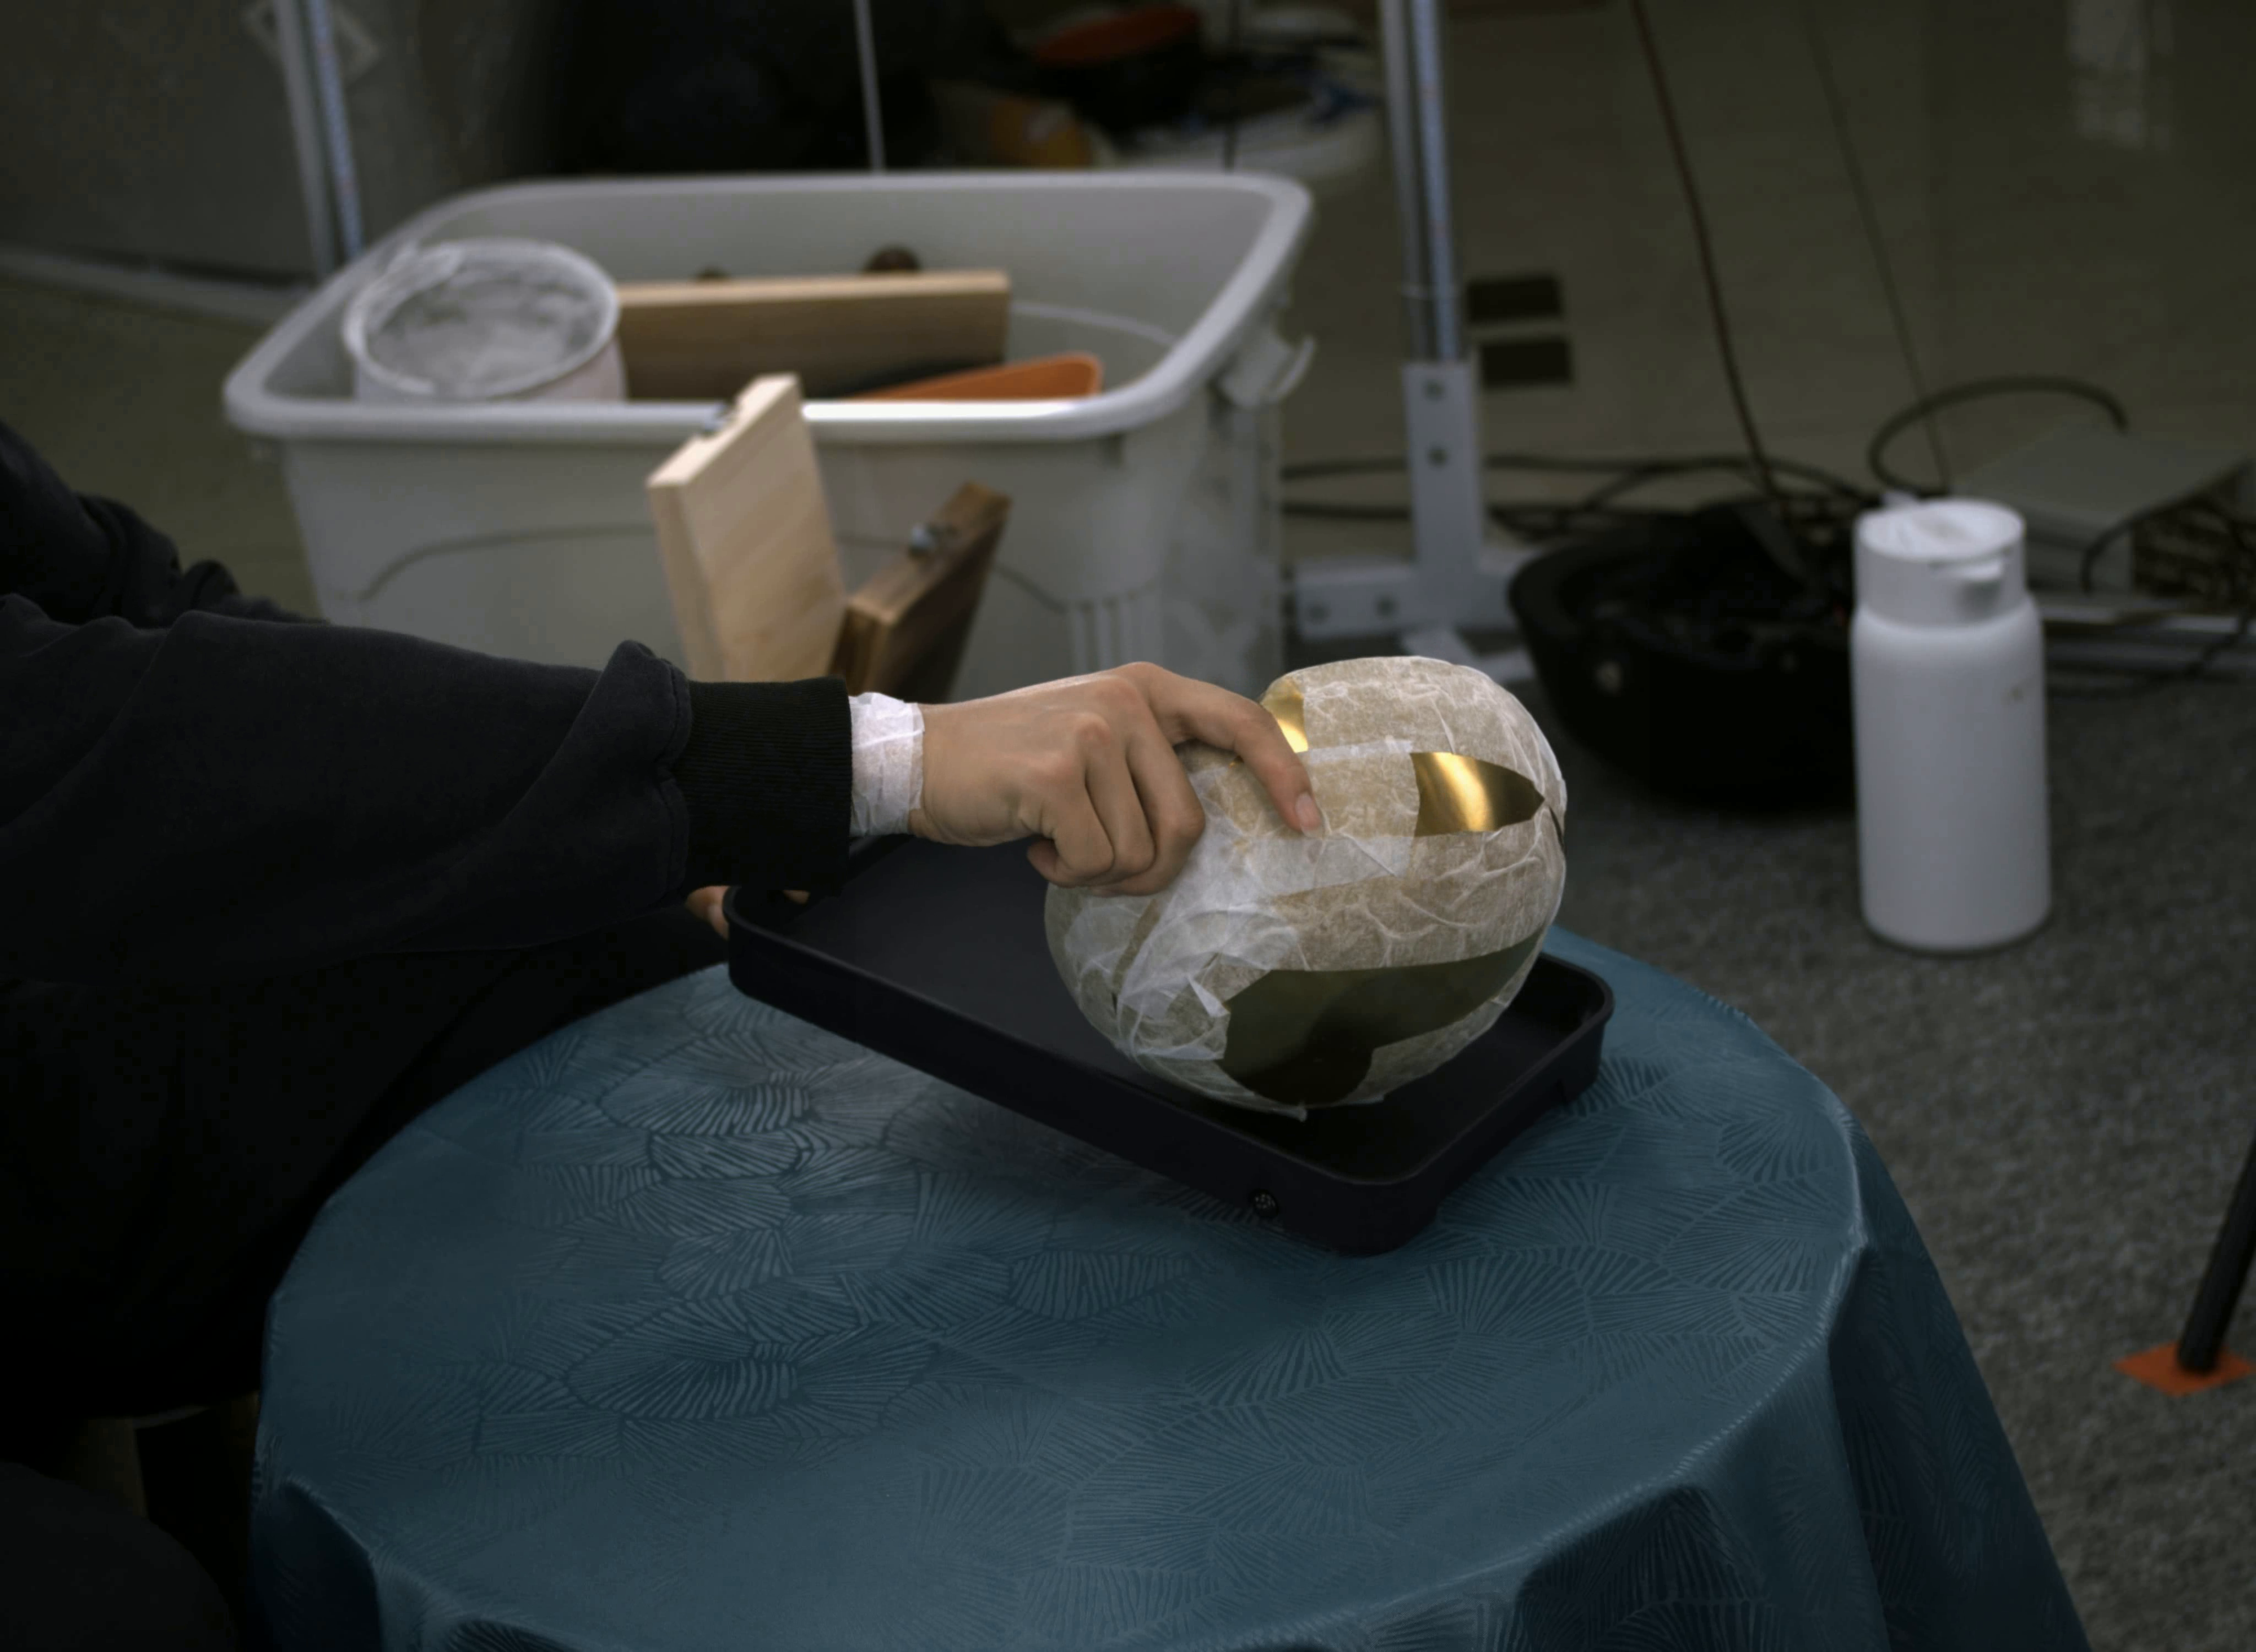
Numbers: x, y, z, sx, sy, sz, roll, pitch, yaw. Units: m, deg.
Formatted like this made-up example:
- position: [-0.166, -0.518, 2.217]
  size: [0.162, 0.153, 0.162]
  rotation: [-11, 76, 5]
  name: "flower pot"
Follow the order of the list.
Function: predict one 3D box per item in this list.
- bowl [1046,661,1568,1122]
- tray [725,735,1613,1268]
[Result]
- position: [0.076, 0.045, 2.092]
  size: [0.214, 0.219, 0.093]
  rotation: [-13, 51, -16]
  name: "bowl"
- position: [0.013, 0.063, 2.203]
  size: [0.315, 0.038, 0.182]
  rotation: [25, 36, 27]
  name: "tray"
